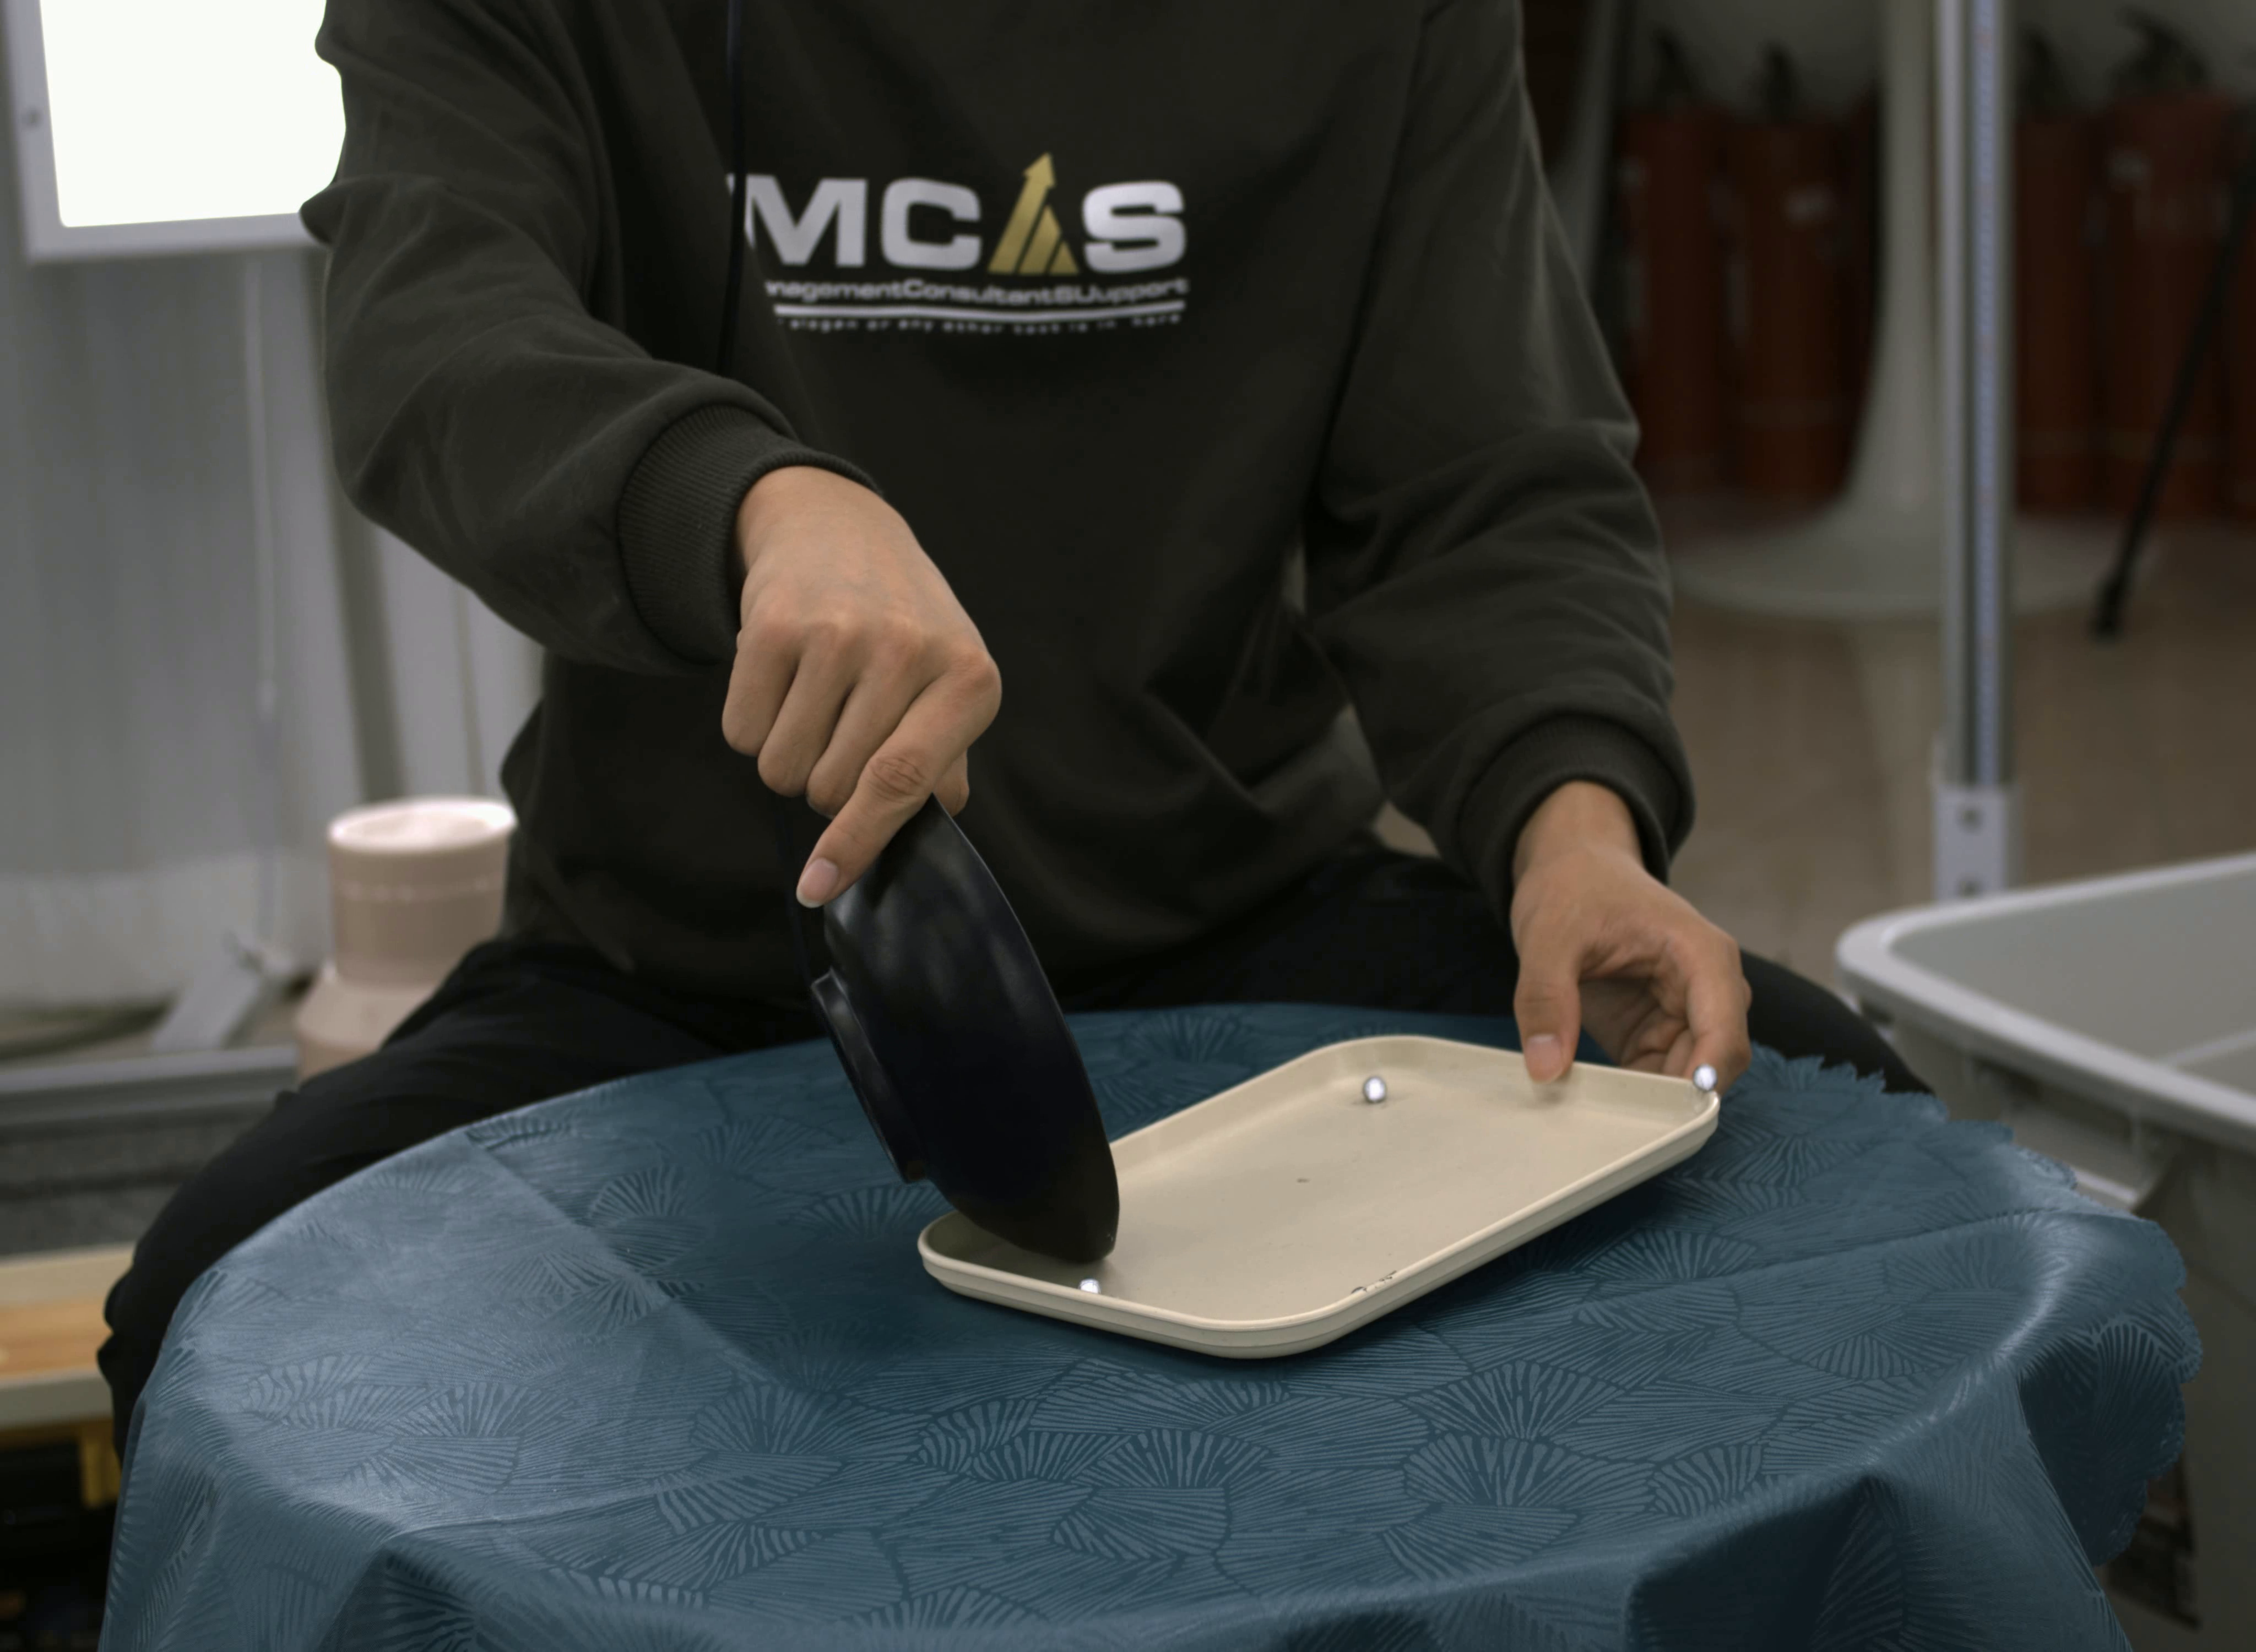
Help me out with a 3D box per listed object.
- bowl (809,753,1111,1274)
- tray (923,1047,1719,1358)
[{"bbox_3d":[-0.058,0.066,1.680,0.066,0.171,0.138,-23,11,-5],"label":"bowl"},{"bbox_3d":[0.064,0.118,1.709,0.173,0.017,0.235,6,19,44],"label":"tray"}]
